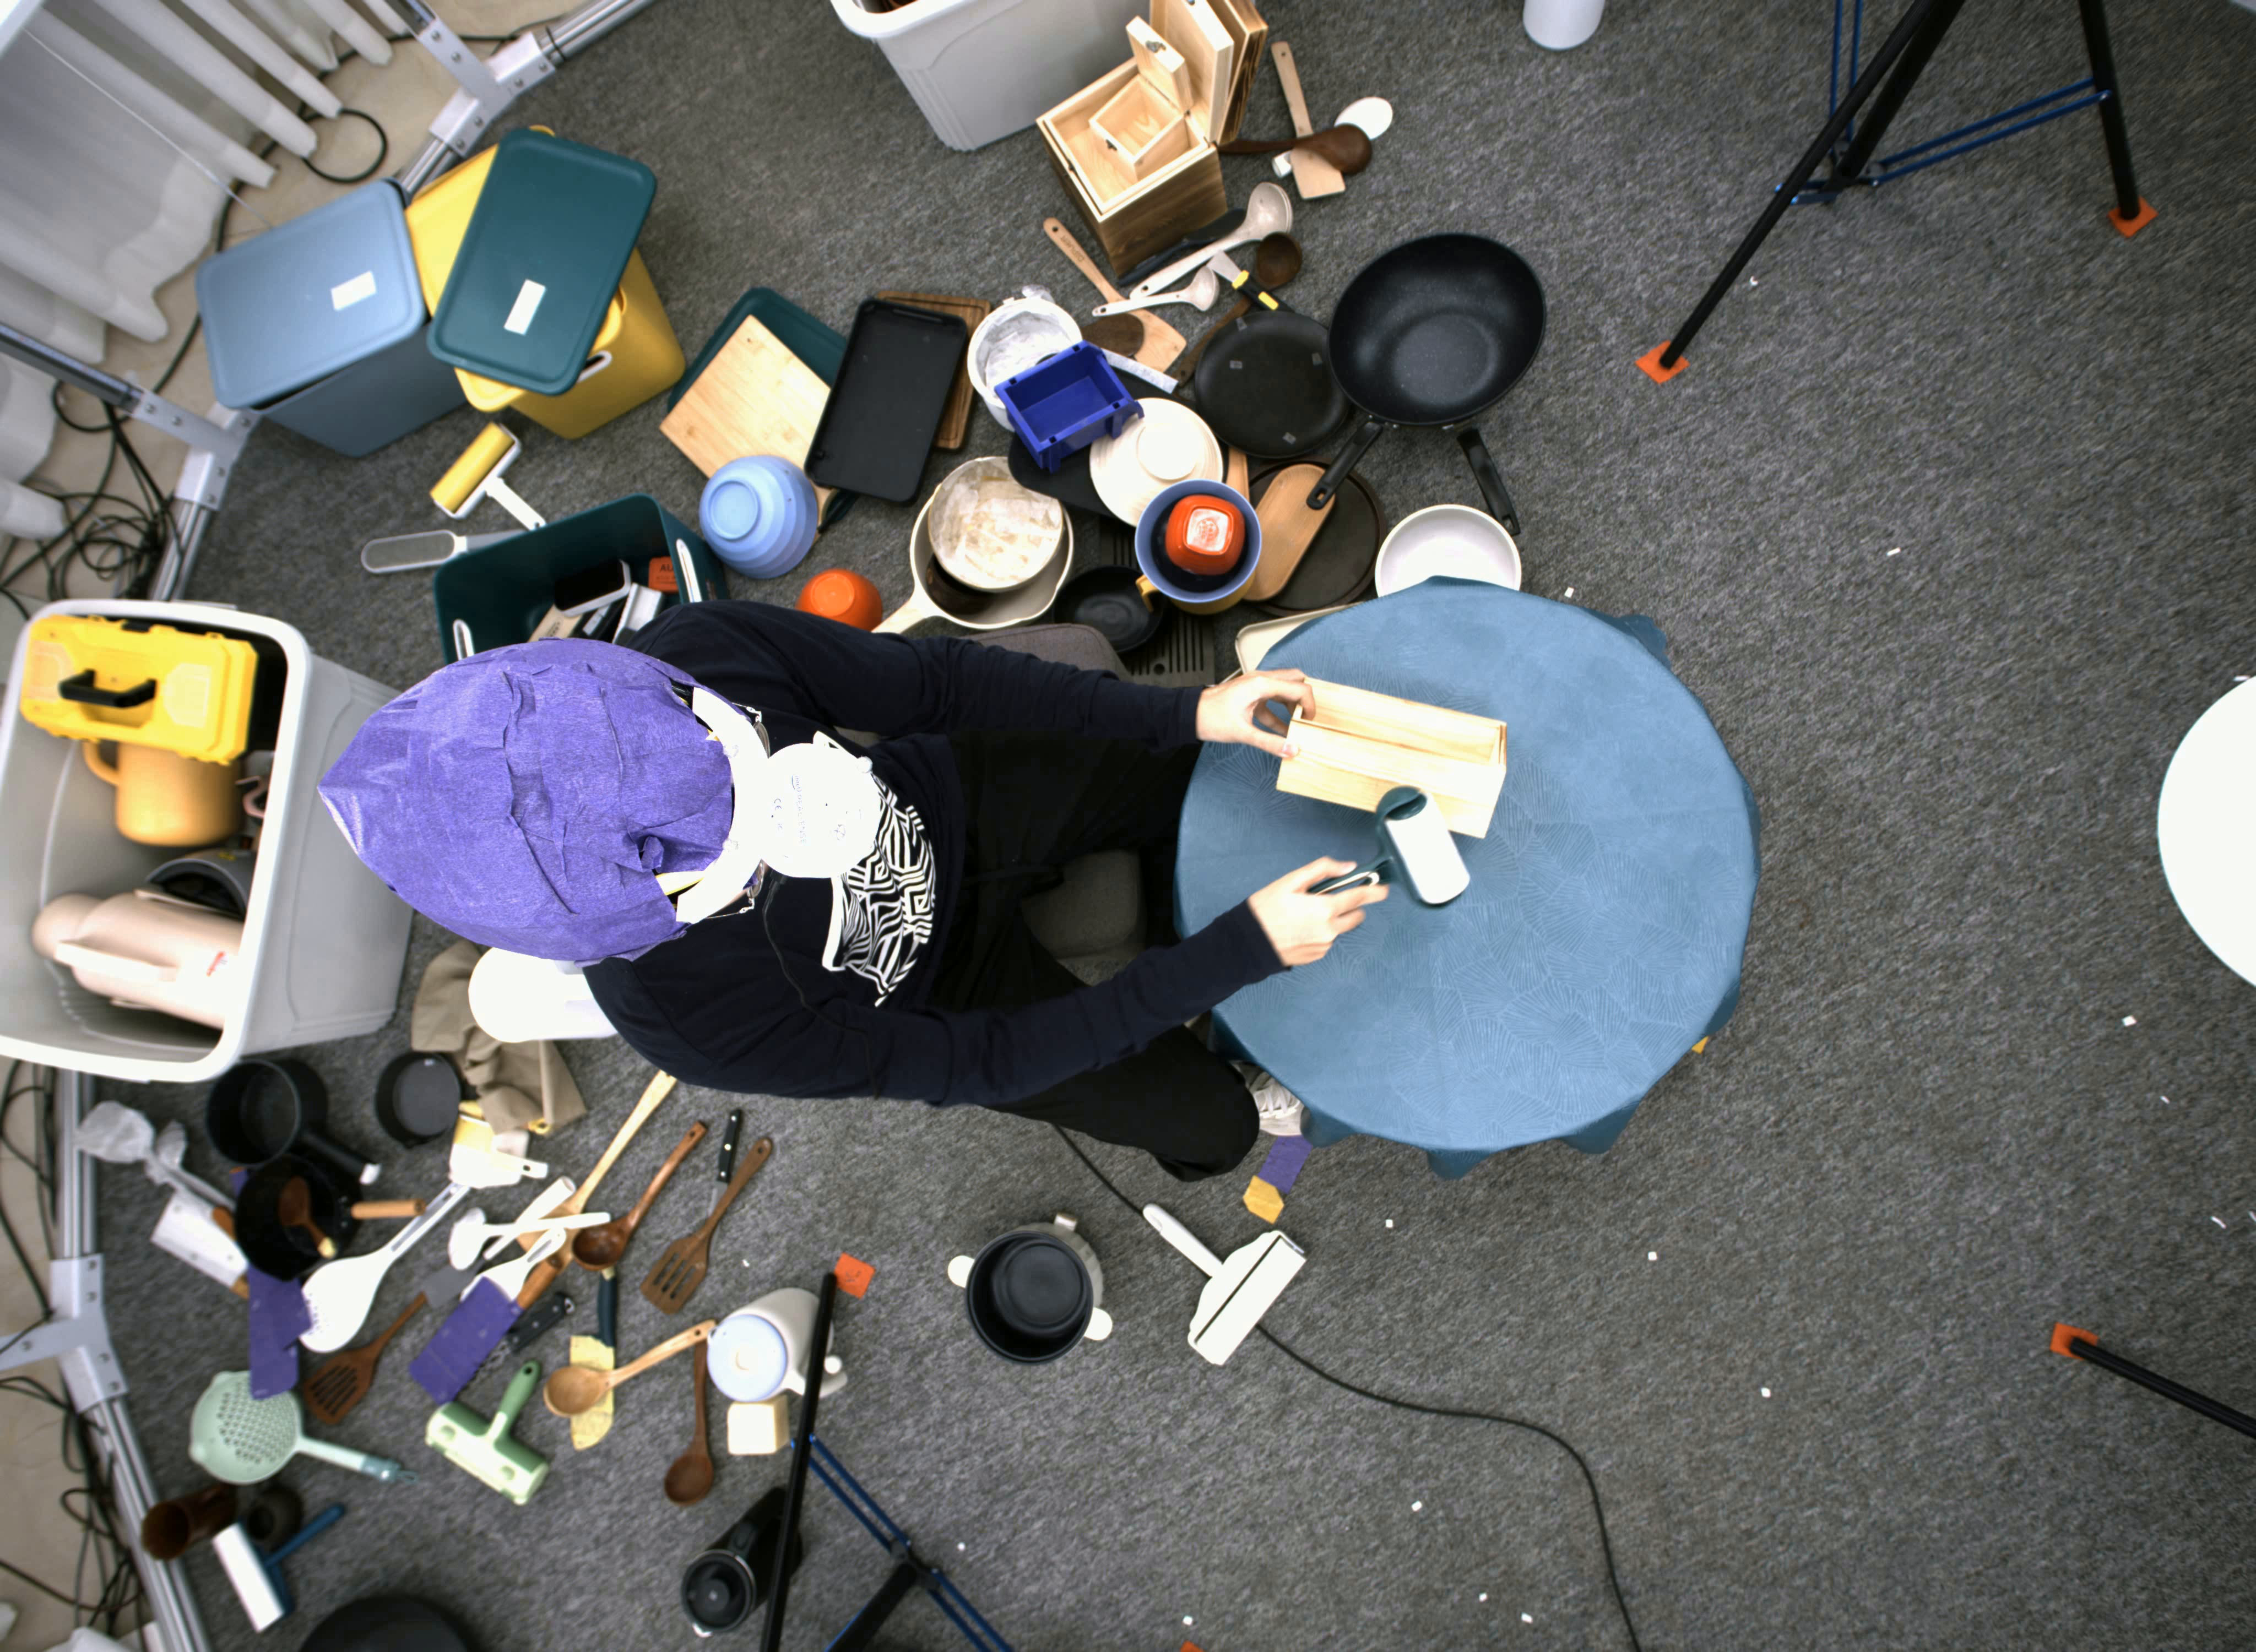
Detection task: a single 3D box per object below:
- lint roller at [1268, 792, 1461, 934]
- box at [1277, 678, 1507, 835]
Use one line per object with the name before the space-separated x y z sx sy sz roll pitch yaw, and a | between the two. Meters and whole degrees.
lint roller | 0.215 0.057 1.292 0.180 0.047 0.136 -31 119 2
box | 0.266 -0.073 1.380 0.212 0.105 0.082 12 123 8
